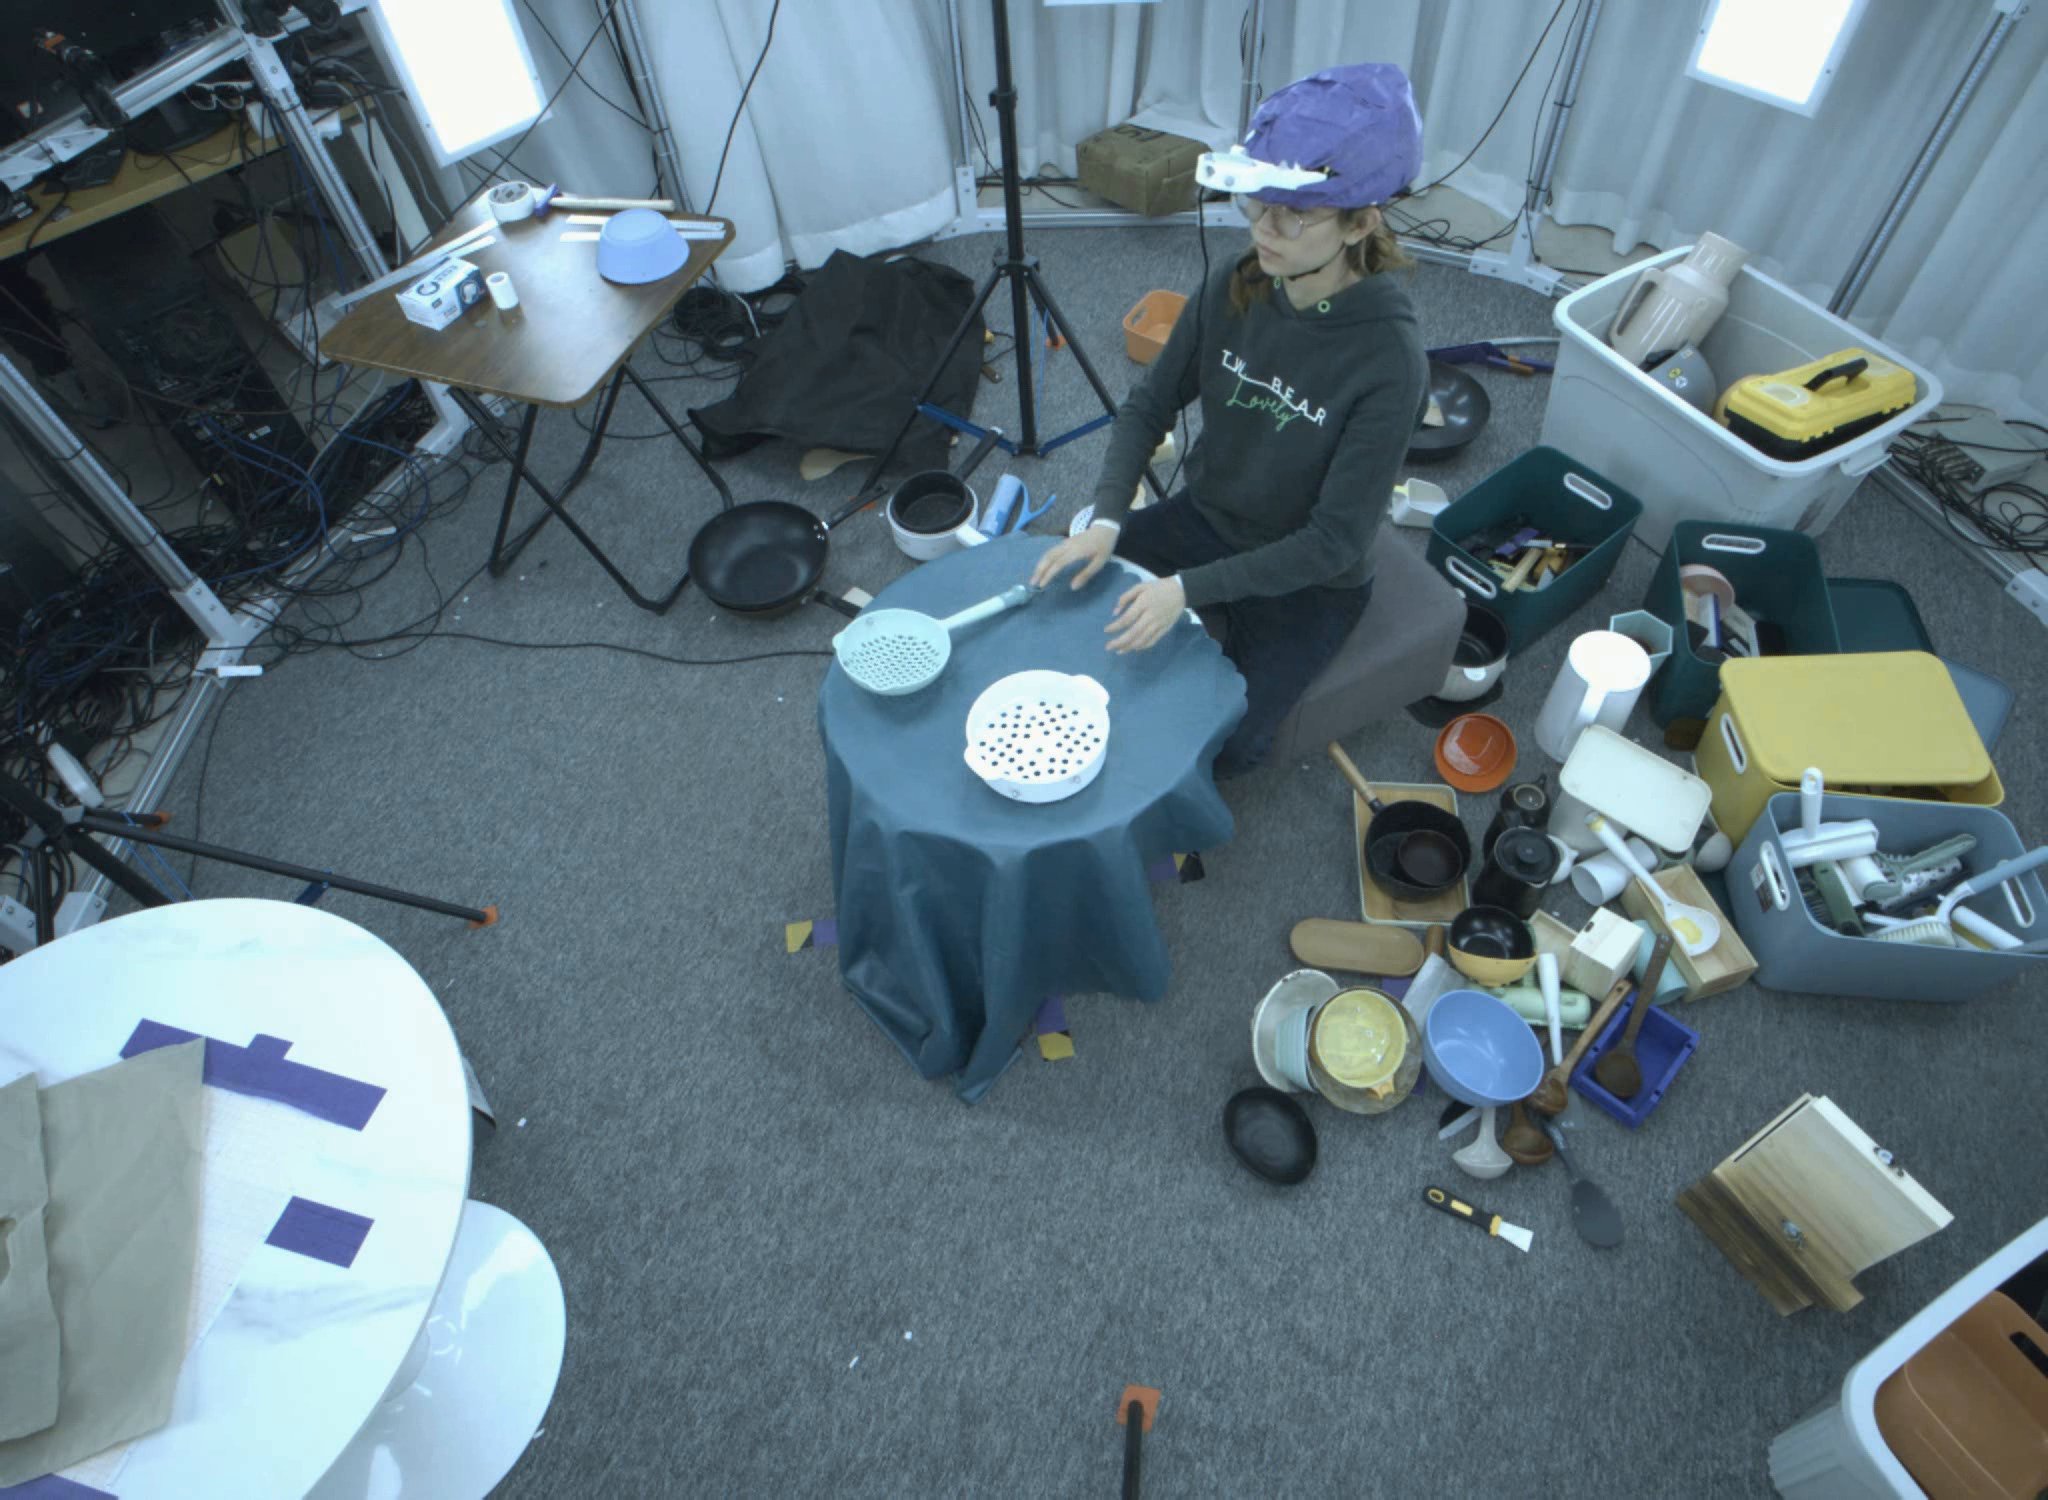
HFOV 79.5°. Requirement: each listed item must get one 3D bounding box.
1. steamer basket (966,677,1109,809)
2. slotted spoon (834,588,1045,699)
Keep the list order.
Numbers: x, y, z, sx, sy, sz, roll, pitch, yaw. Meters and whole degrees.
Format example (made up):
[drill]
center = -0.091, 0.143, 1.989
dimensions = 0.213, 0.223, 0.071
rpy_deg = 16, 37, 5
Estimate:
[steamer basket]
center = 0.020, -0.009, 1.764
dimensions = 0.232, 0.070, 0.198
rpy_deg = -35, 62, -21
[slotted spoon]
center = -0.116, -0.183, 1.890
dimensions = 0.361, 0.076, 0.166
rpy_deg = -32, 59, -19
